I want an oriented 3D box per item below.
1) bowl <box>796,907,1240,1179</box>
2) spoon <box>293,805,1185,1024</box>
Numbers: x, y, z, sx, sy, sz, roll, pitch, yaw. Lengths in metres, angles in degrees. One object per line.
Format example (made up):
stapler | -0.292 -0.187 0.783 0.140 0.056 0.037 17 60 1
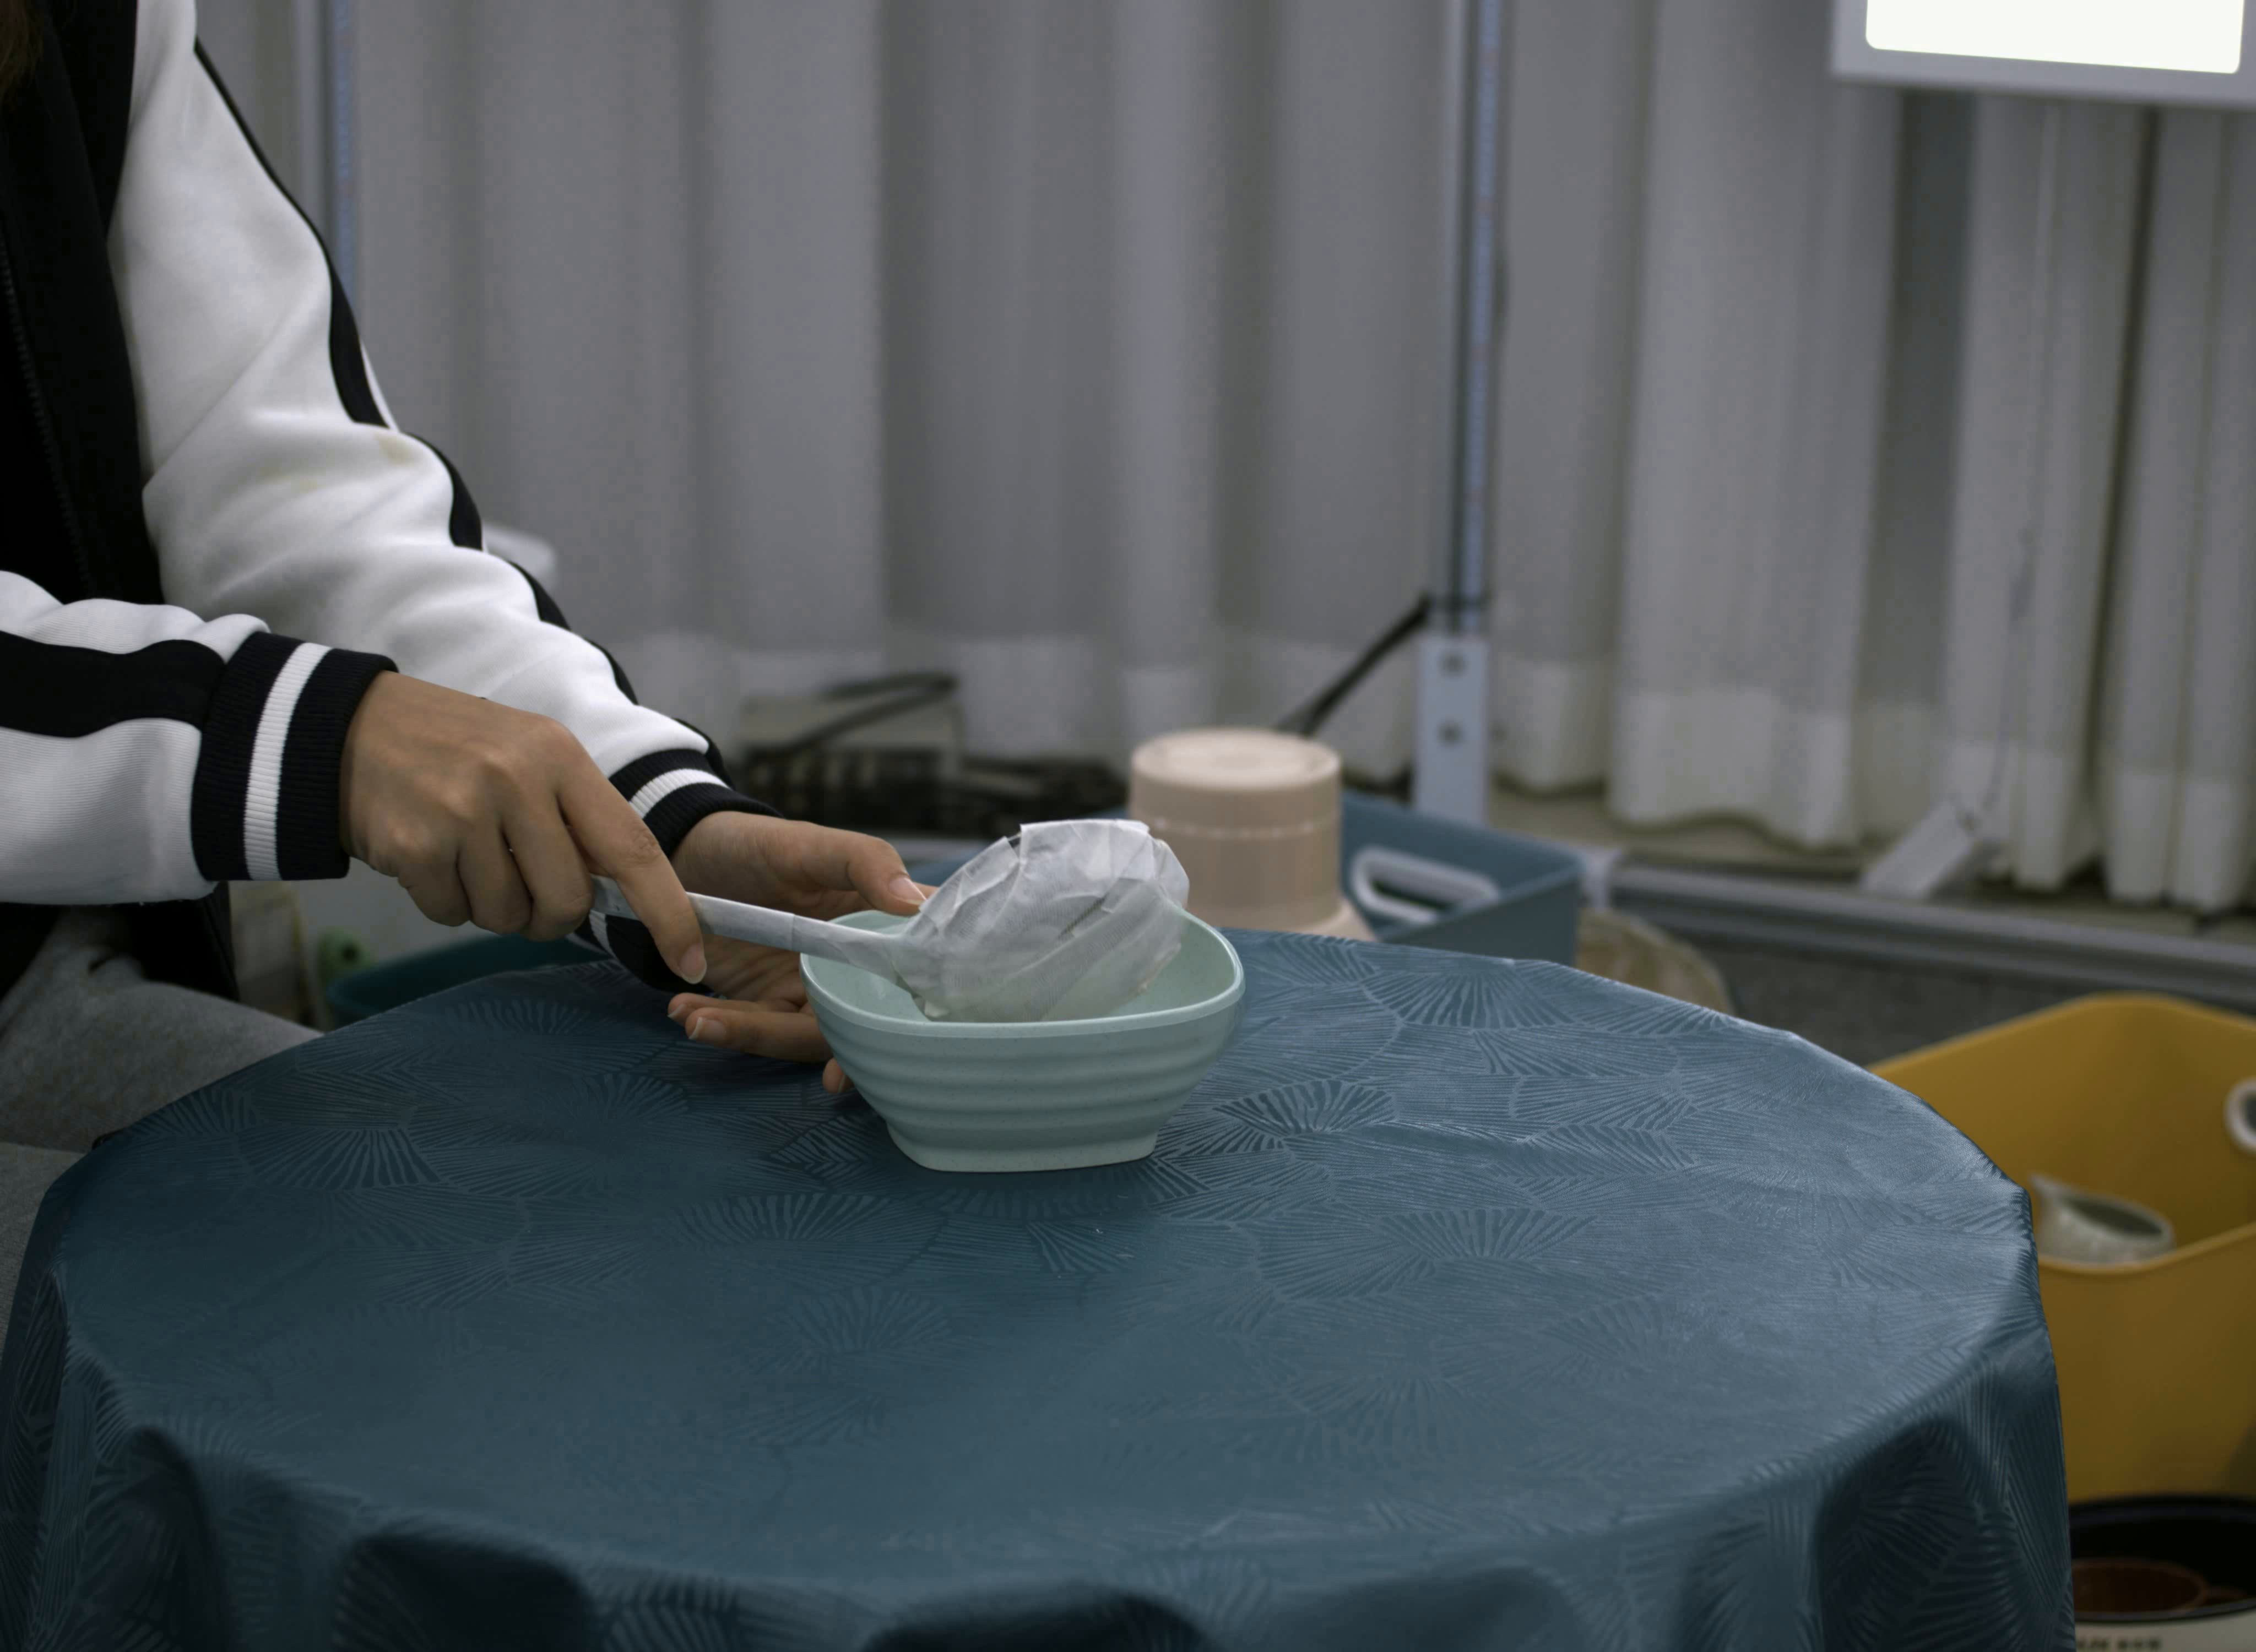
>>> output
bowl | -0.035 0.071 1.669 0.151 0.059 0.150 1 16 0
spoon | -0.122 0.017 1.654 0.275 0.102 0.059 10 39 10
